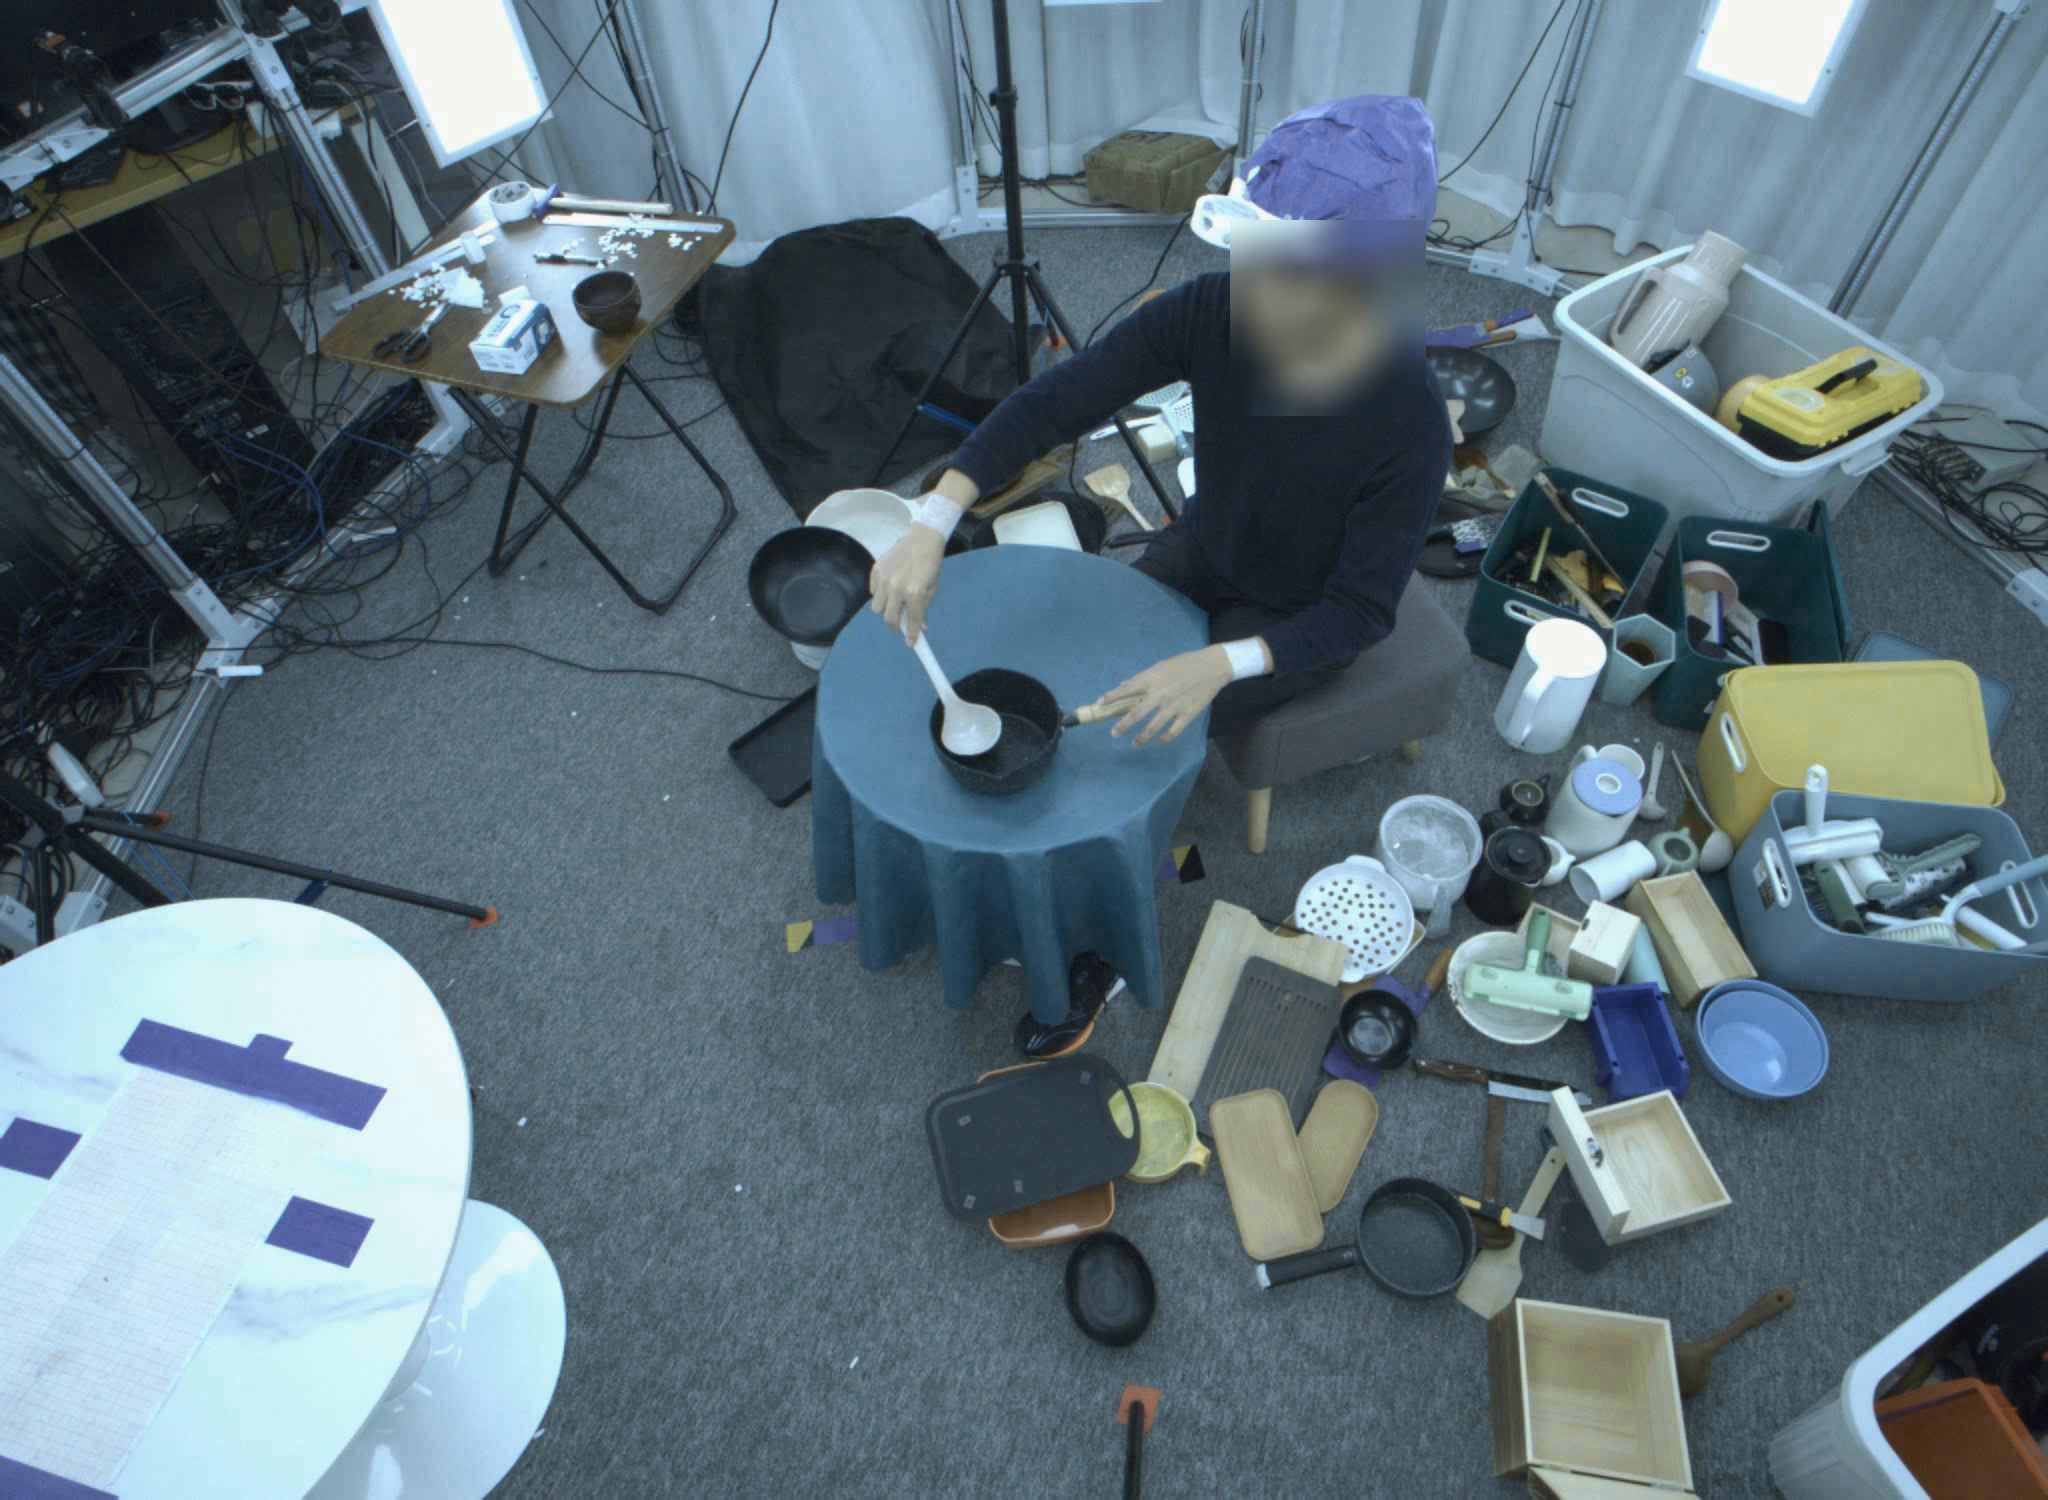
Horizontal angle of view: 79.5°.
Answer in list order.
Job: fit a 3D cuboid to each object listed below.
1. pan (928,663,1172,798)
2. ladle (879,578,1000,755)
[{"bbox_3d":[0.039,-0.035,1.744,0.343,0.109,0.204,-8,54,-2],"label":"pan"},{"bbox_3d":[-0.124,-0.116,1.705,0.090,0.279,0.068,-34,25,-13],"label":"ladle"}]
